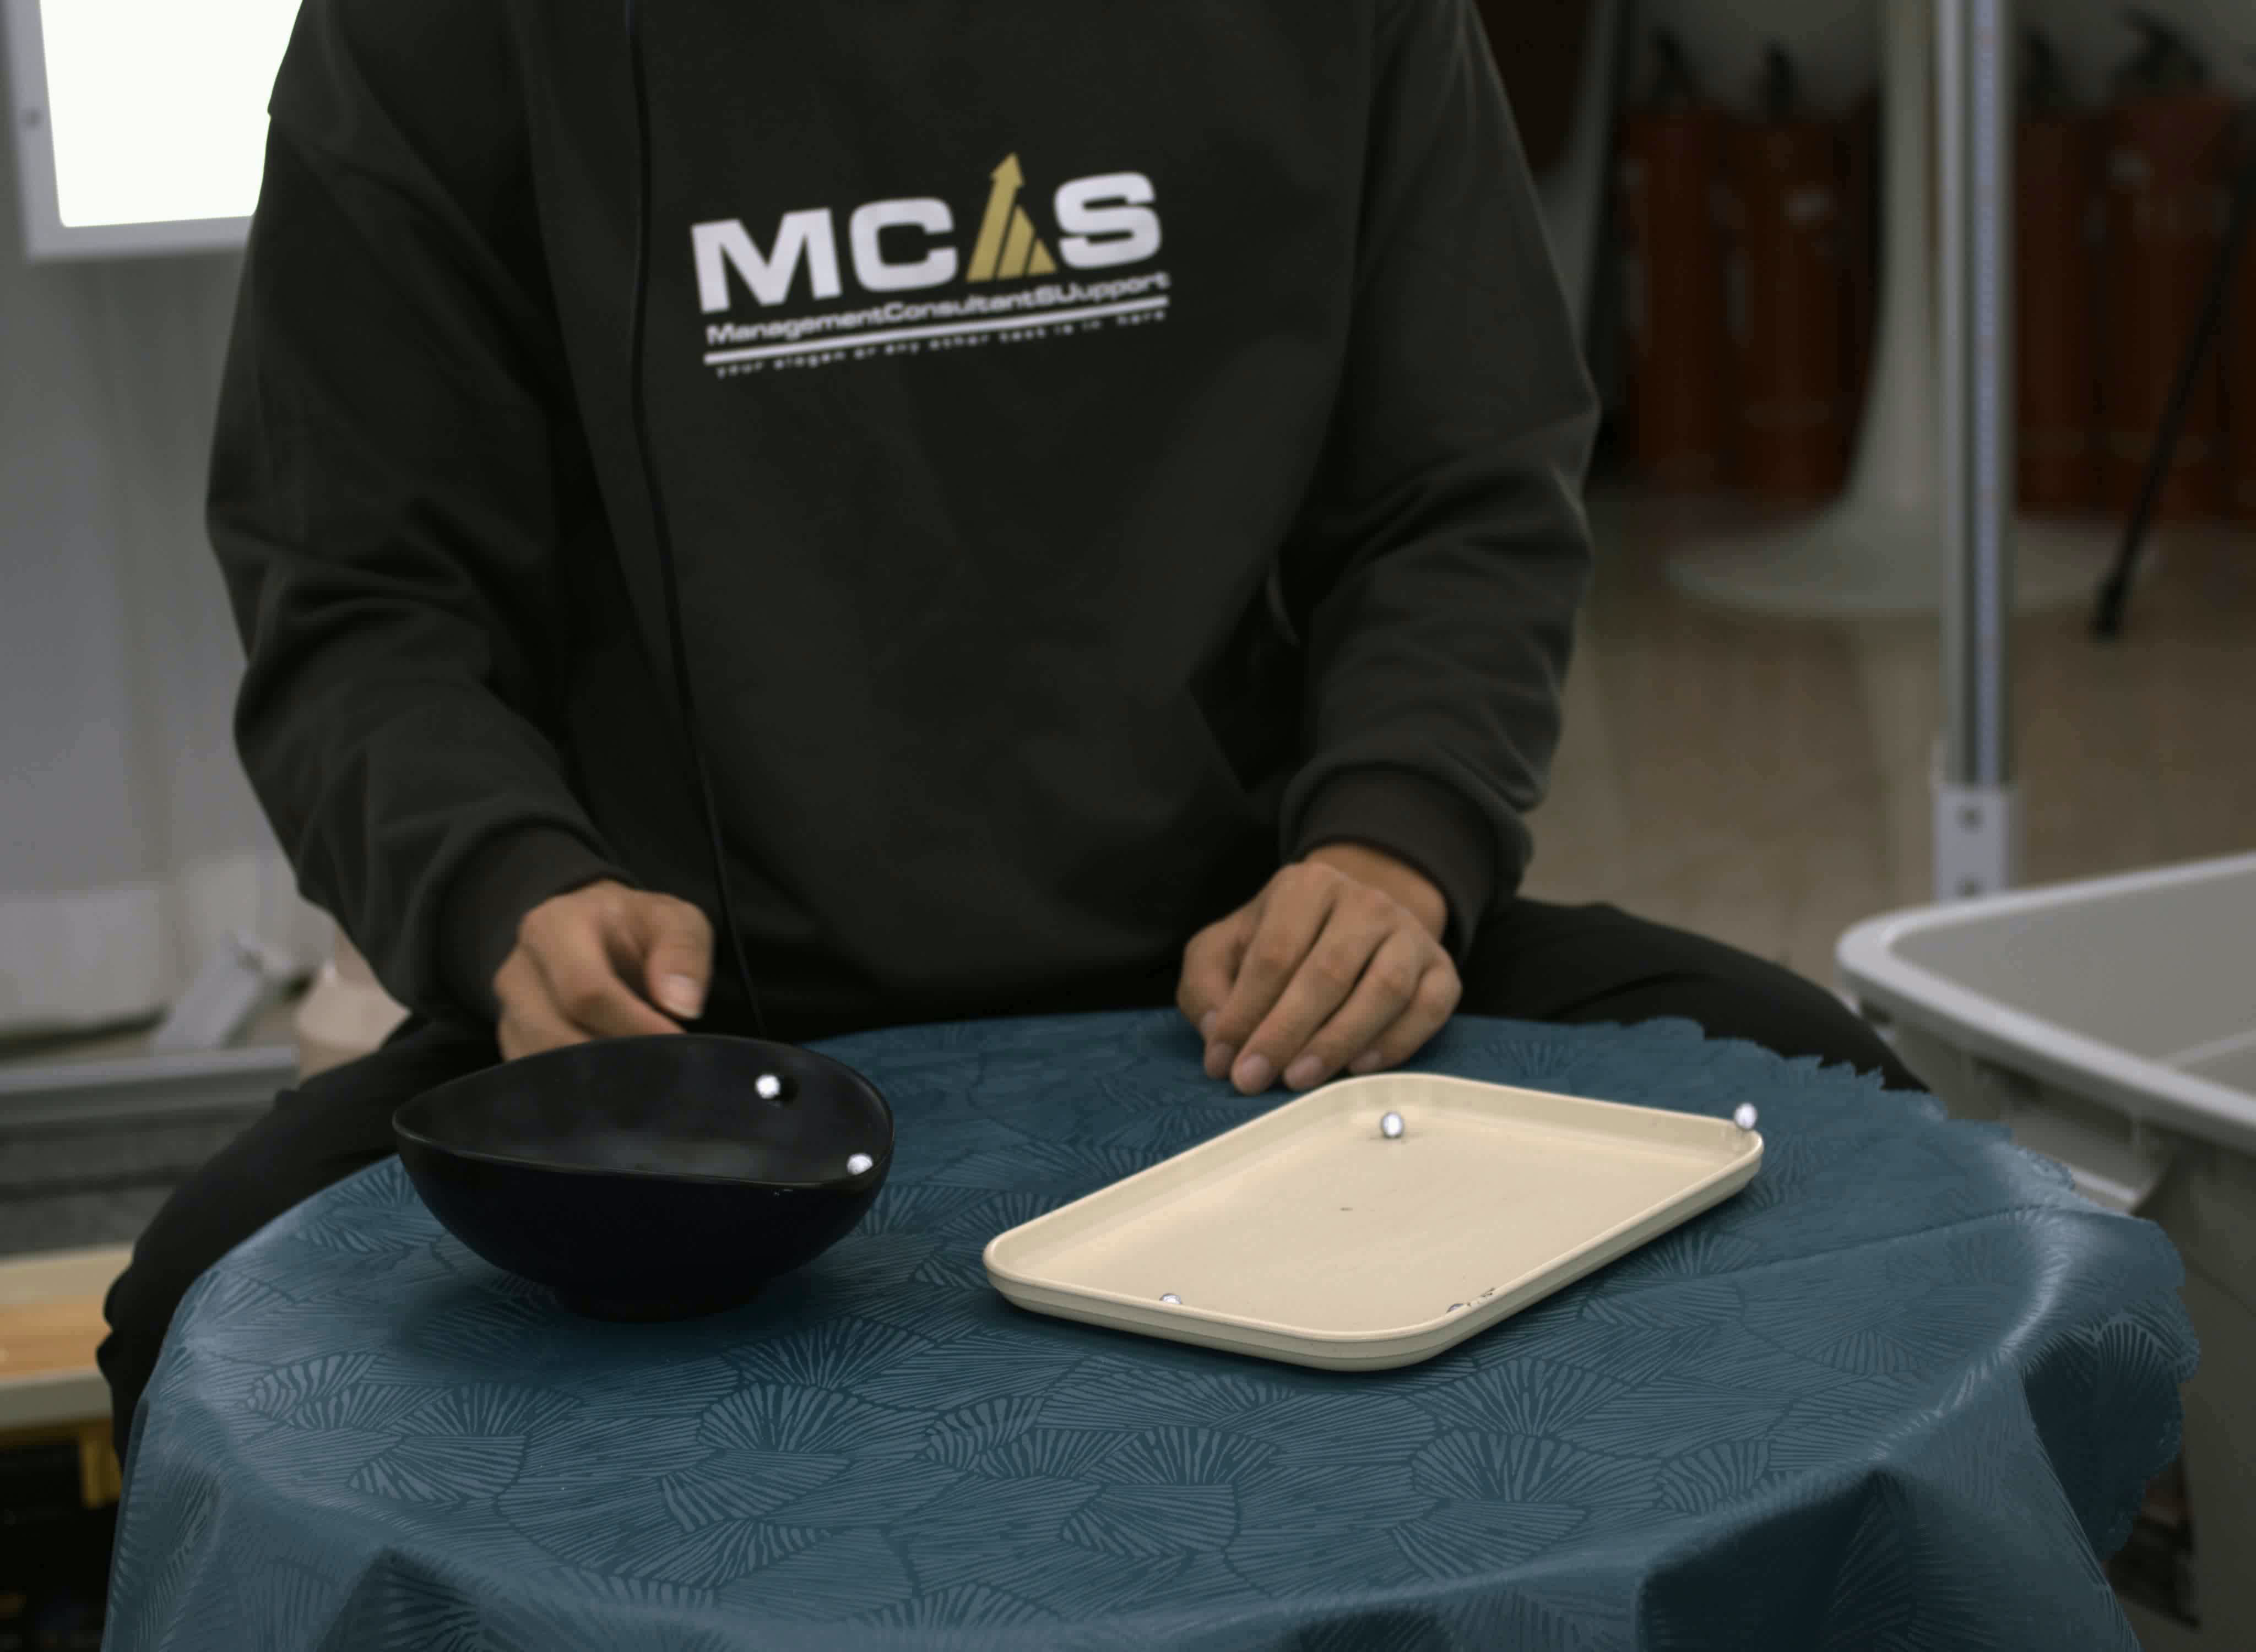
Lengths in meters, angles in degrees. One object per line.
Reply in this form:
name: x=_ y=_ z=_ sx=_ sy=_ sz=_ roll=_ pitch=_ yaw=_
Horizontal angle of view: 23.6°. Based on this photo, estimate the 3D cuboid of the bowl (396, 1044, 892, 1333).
bowl: x=-0.149 y=0.118 z=1.700 sx=0.171 sy=0.067 sz=0.135 roll=6 pitch=17 yaw=30

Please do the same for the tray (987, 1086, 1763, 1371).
tray: x=0.081 y=0.126 z=1.701 sx=0.172 sy=0.017 sz=0.235 roll=5 pitch=16 yaw=37
